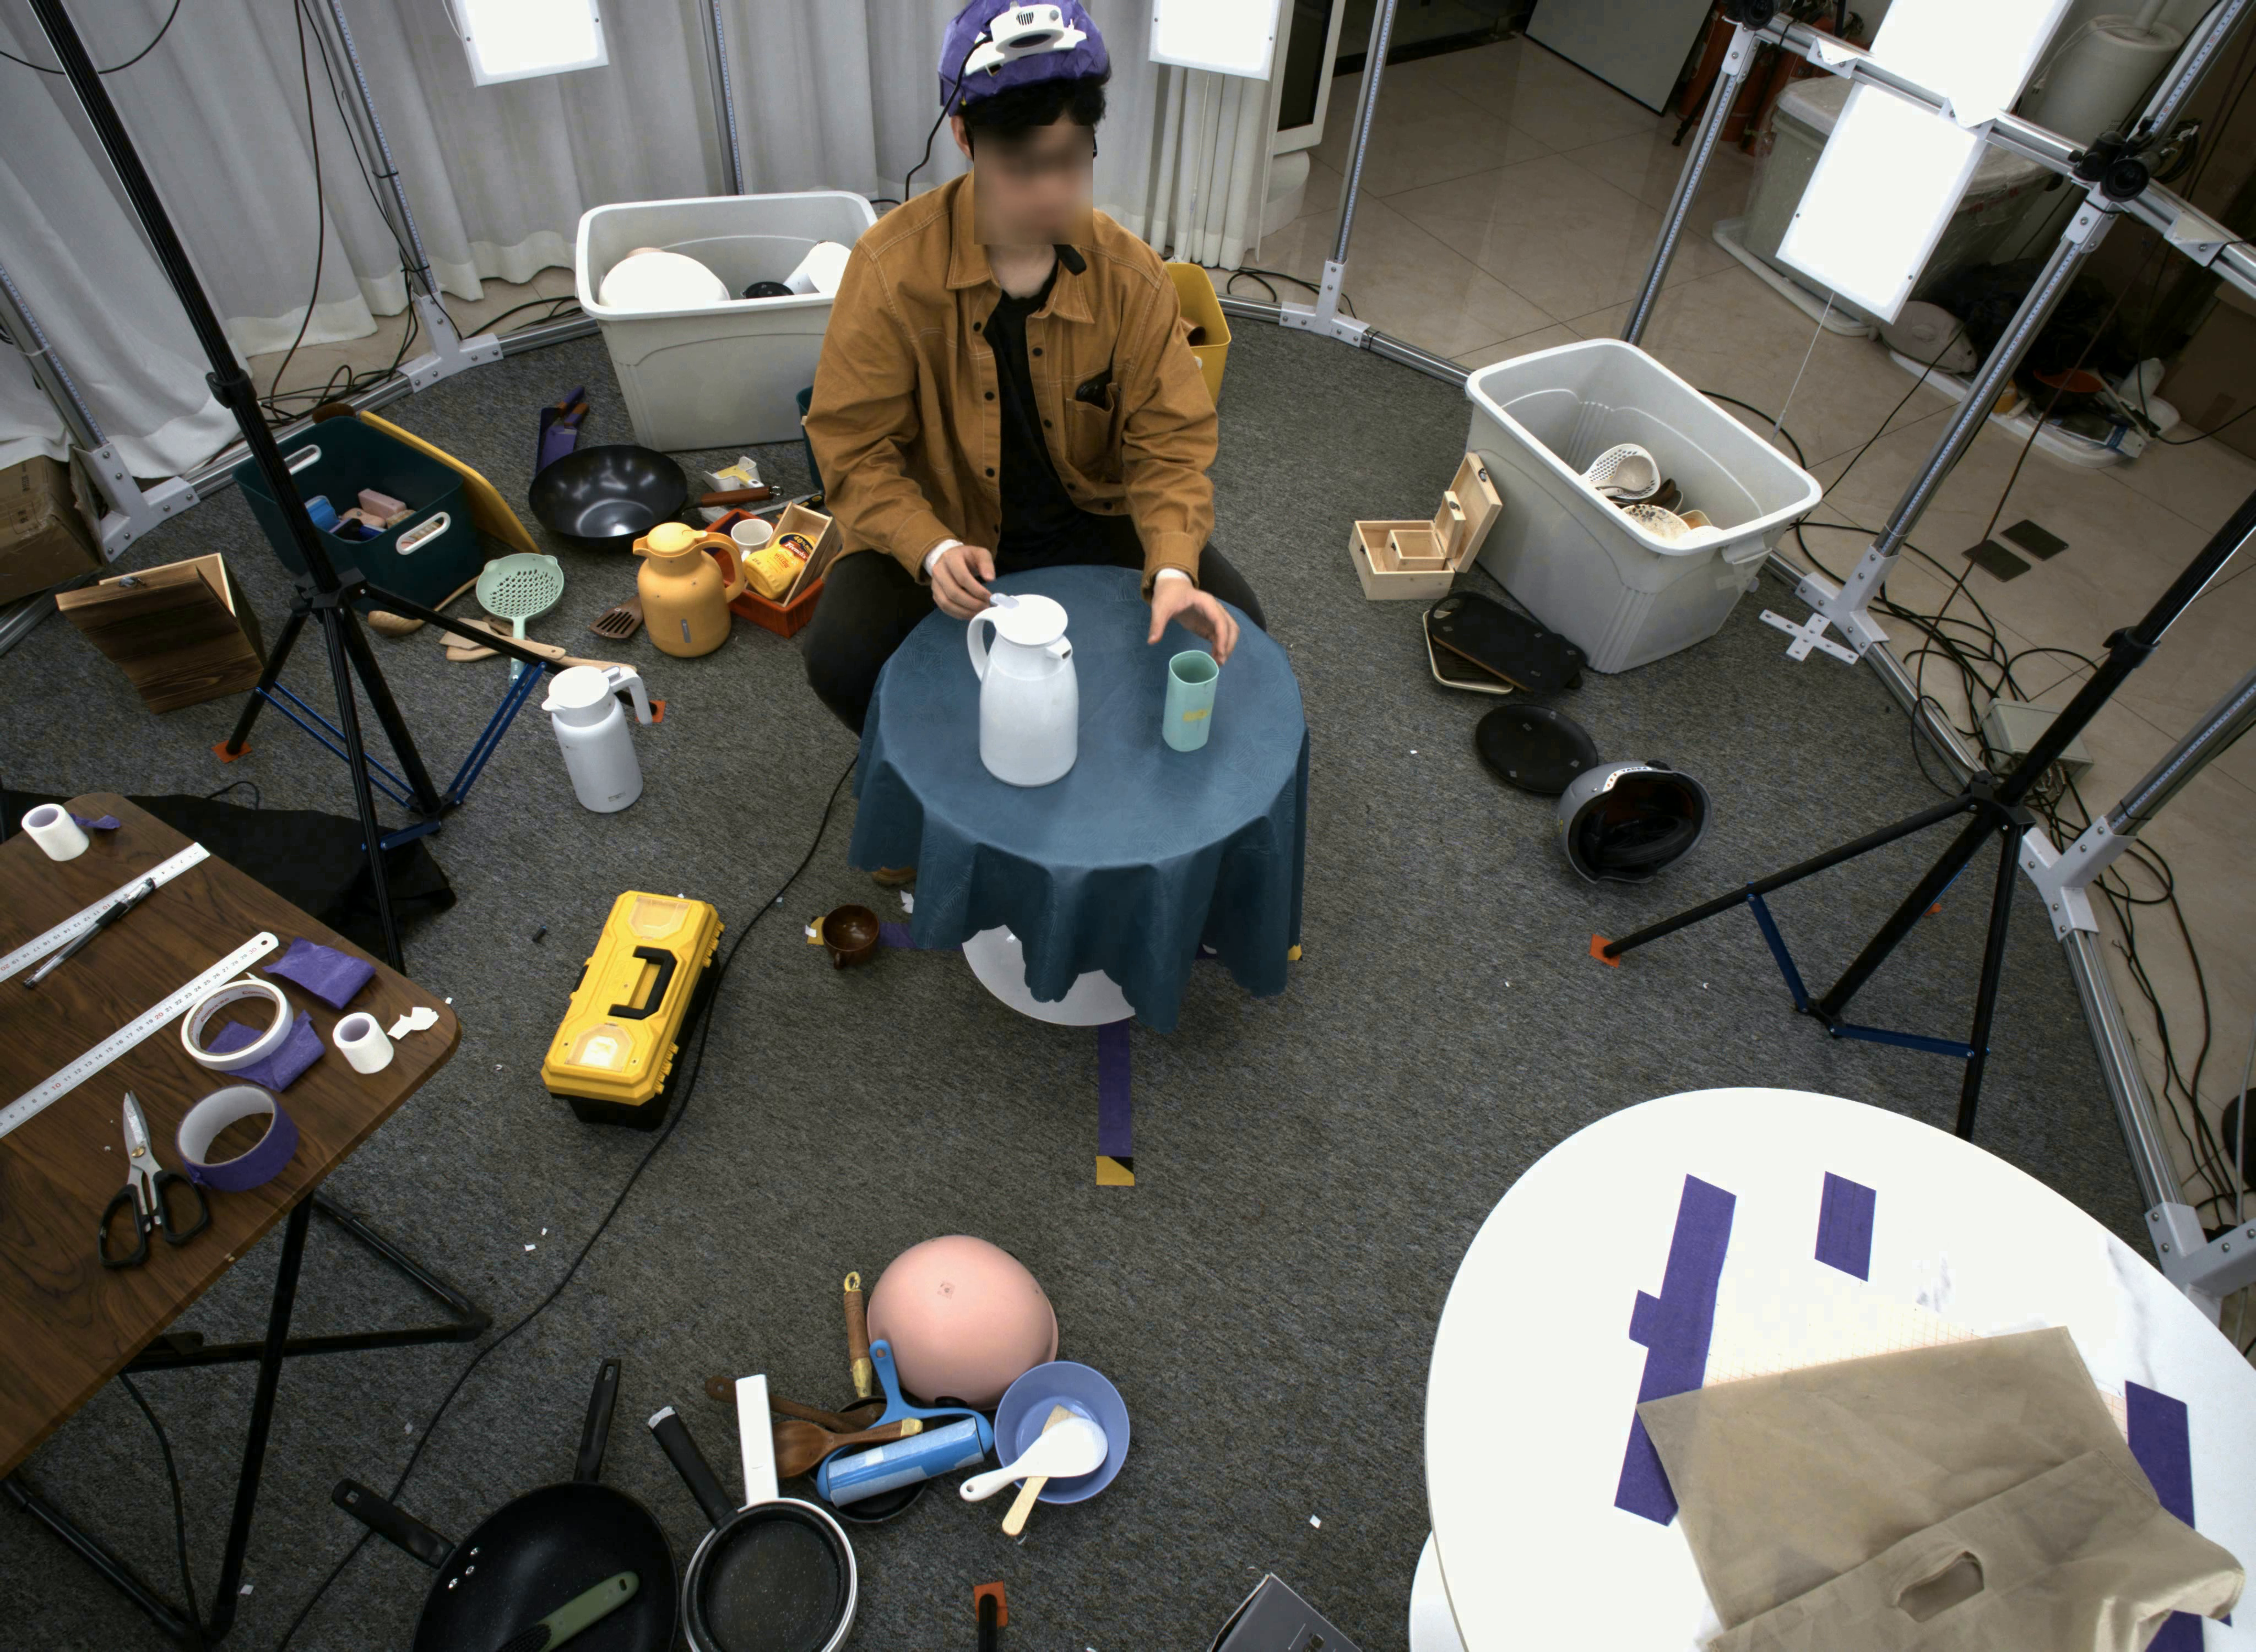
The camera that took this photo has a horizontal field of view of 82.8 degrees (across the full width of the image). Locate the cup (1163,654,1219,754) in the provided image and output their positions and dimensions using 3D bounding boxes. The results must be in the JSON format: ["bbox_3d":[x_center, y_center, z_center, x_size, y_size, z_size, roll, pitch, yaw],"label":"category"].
[{"bbox_3d":[0.083,-0.166,1.738,0.066,0.129,0.068,2,49,-3],"label":"cup"}]

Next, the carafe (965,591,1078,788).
[{"bbox_3d":[-0.144,-0.188,1.664,0.170,0.242,0.134,34,56,24],"label":"carafe"}]
